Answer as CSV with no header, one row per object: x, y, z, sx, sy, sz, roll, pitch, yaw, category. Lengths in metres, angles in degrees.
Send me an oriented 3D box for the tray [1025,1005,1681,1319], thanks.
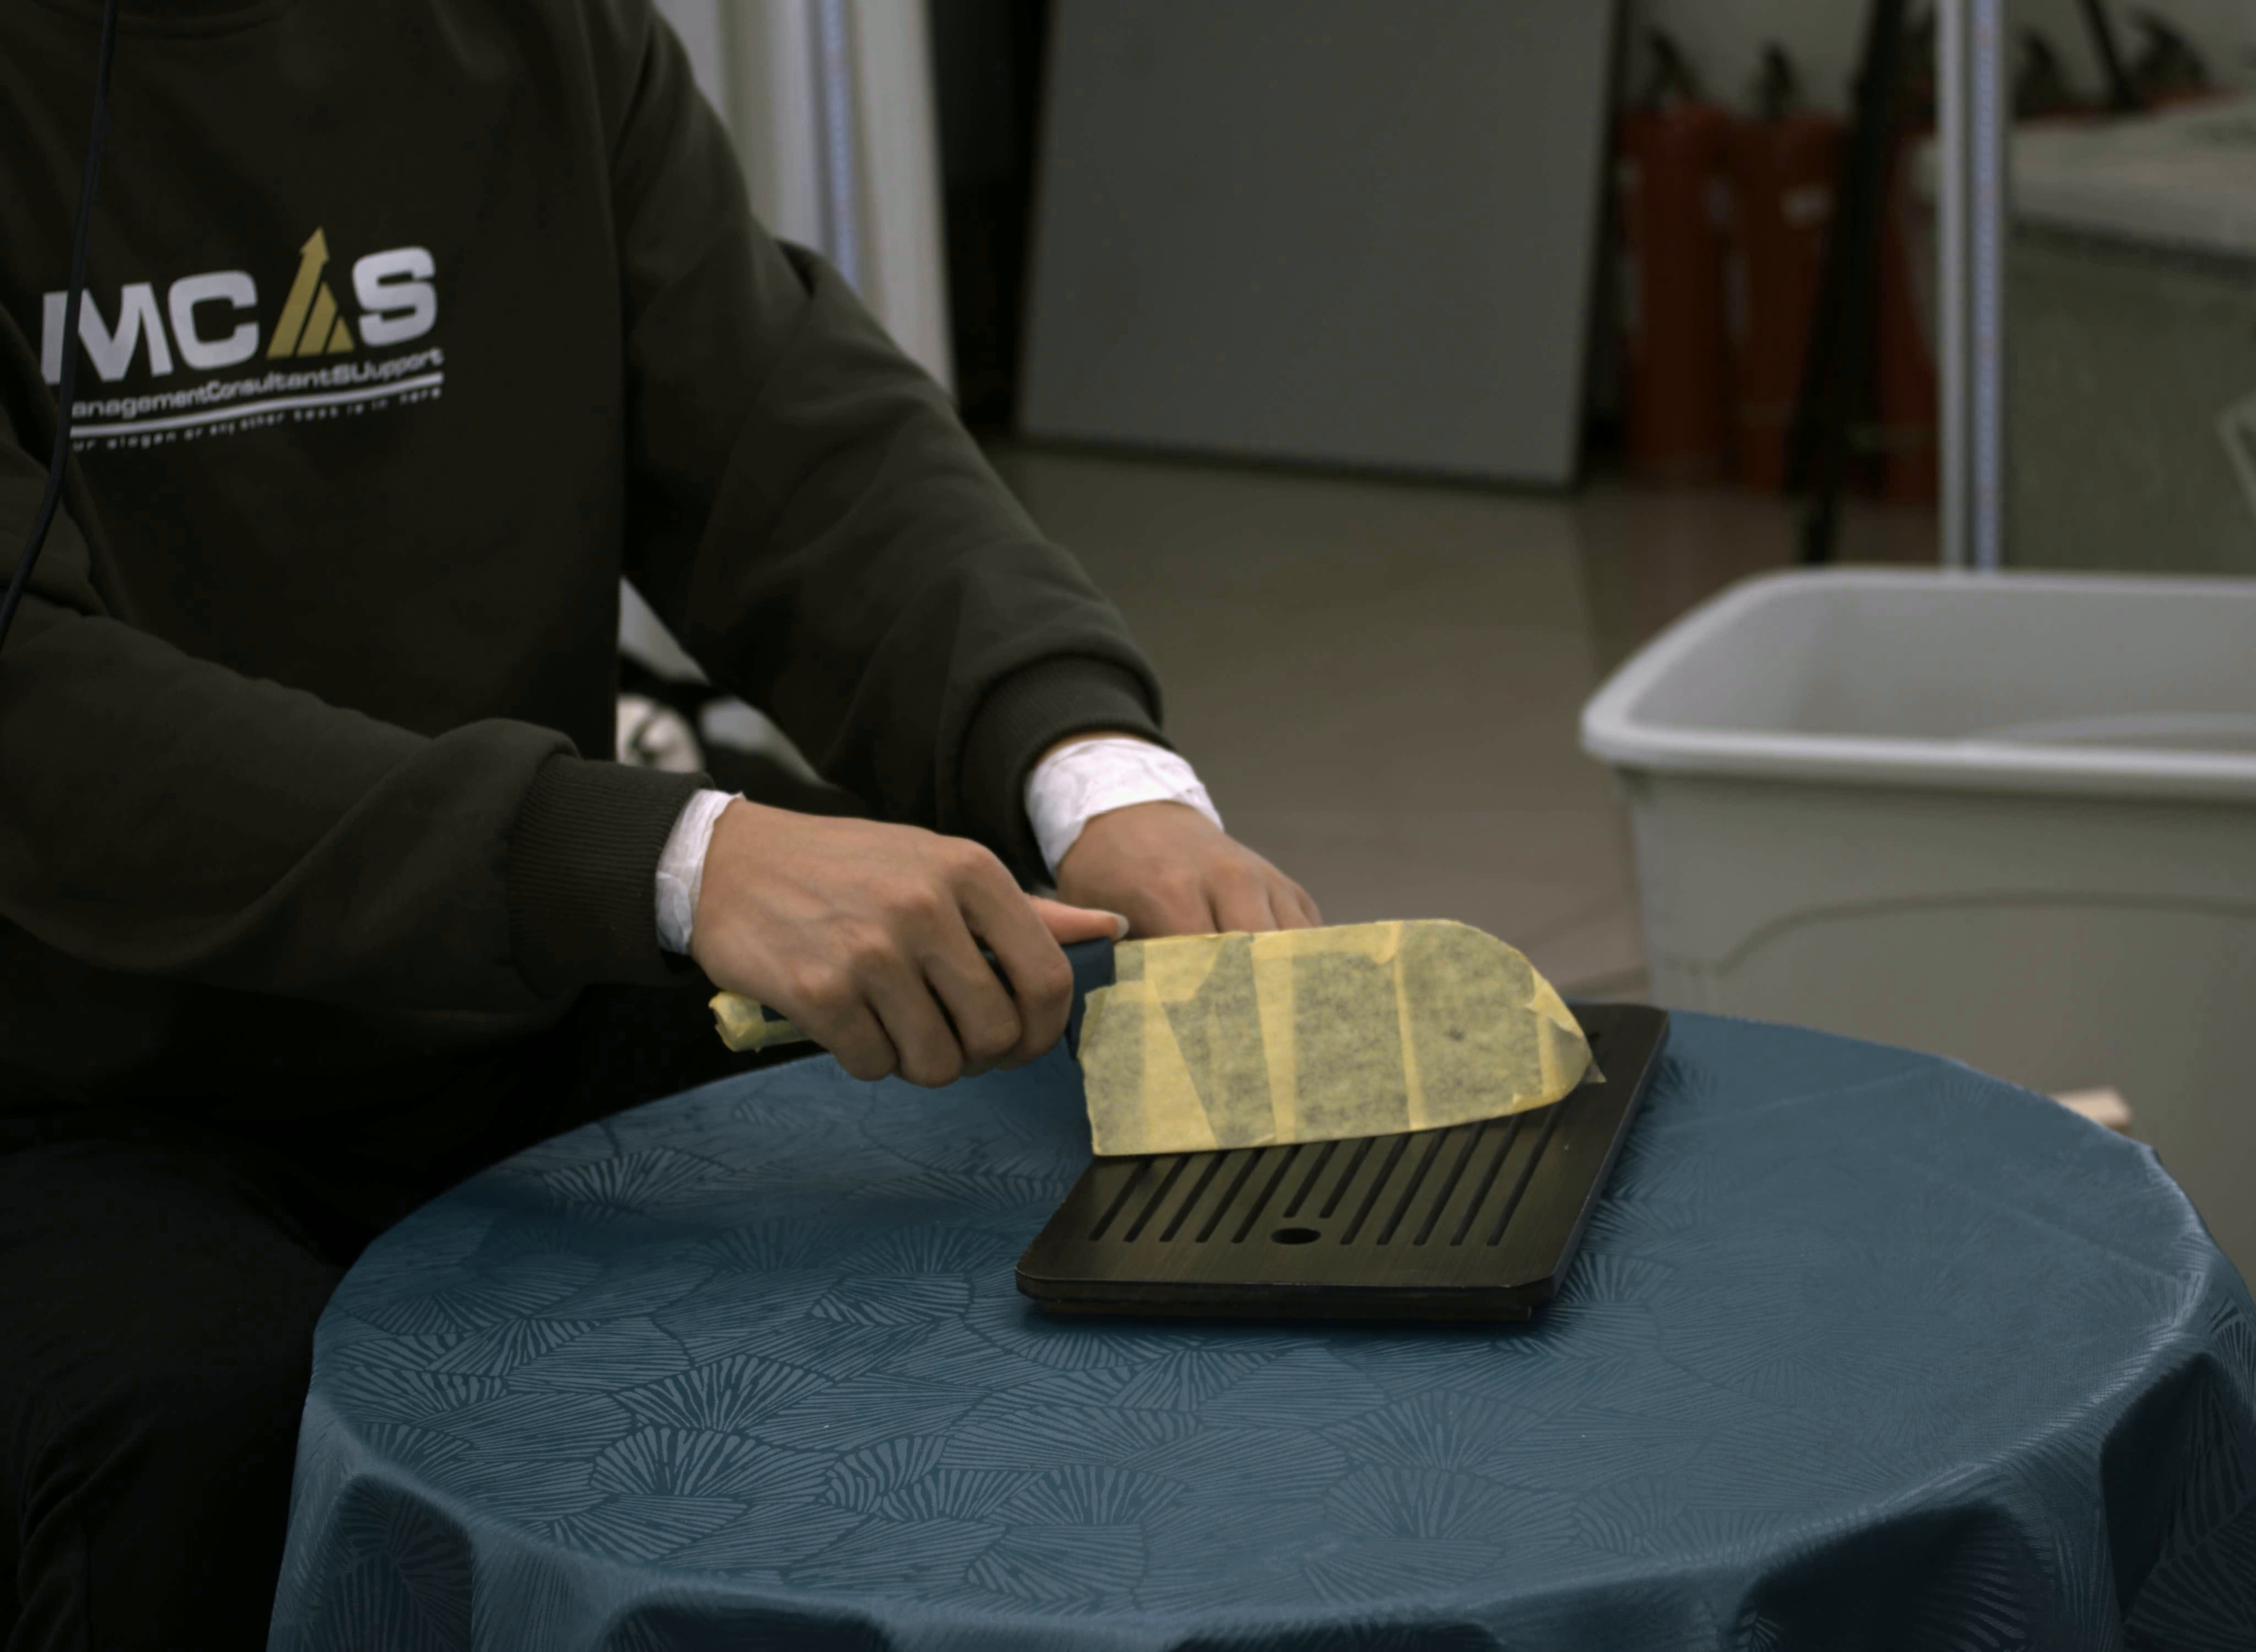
0.081,0.108,1.766,0.169,0.019,0.304,-1,14,14,tray

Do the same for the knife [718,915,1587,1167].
0.009,0.072,1.768,0.285,0.082,0.027,-3,-19,-1,knife
